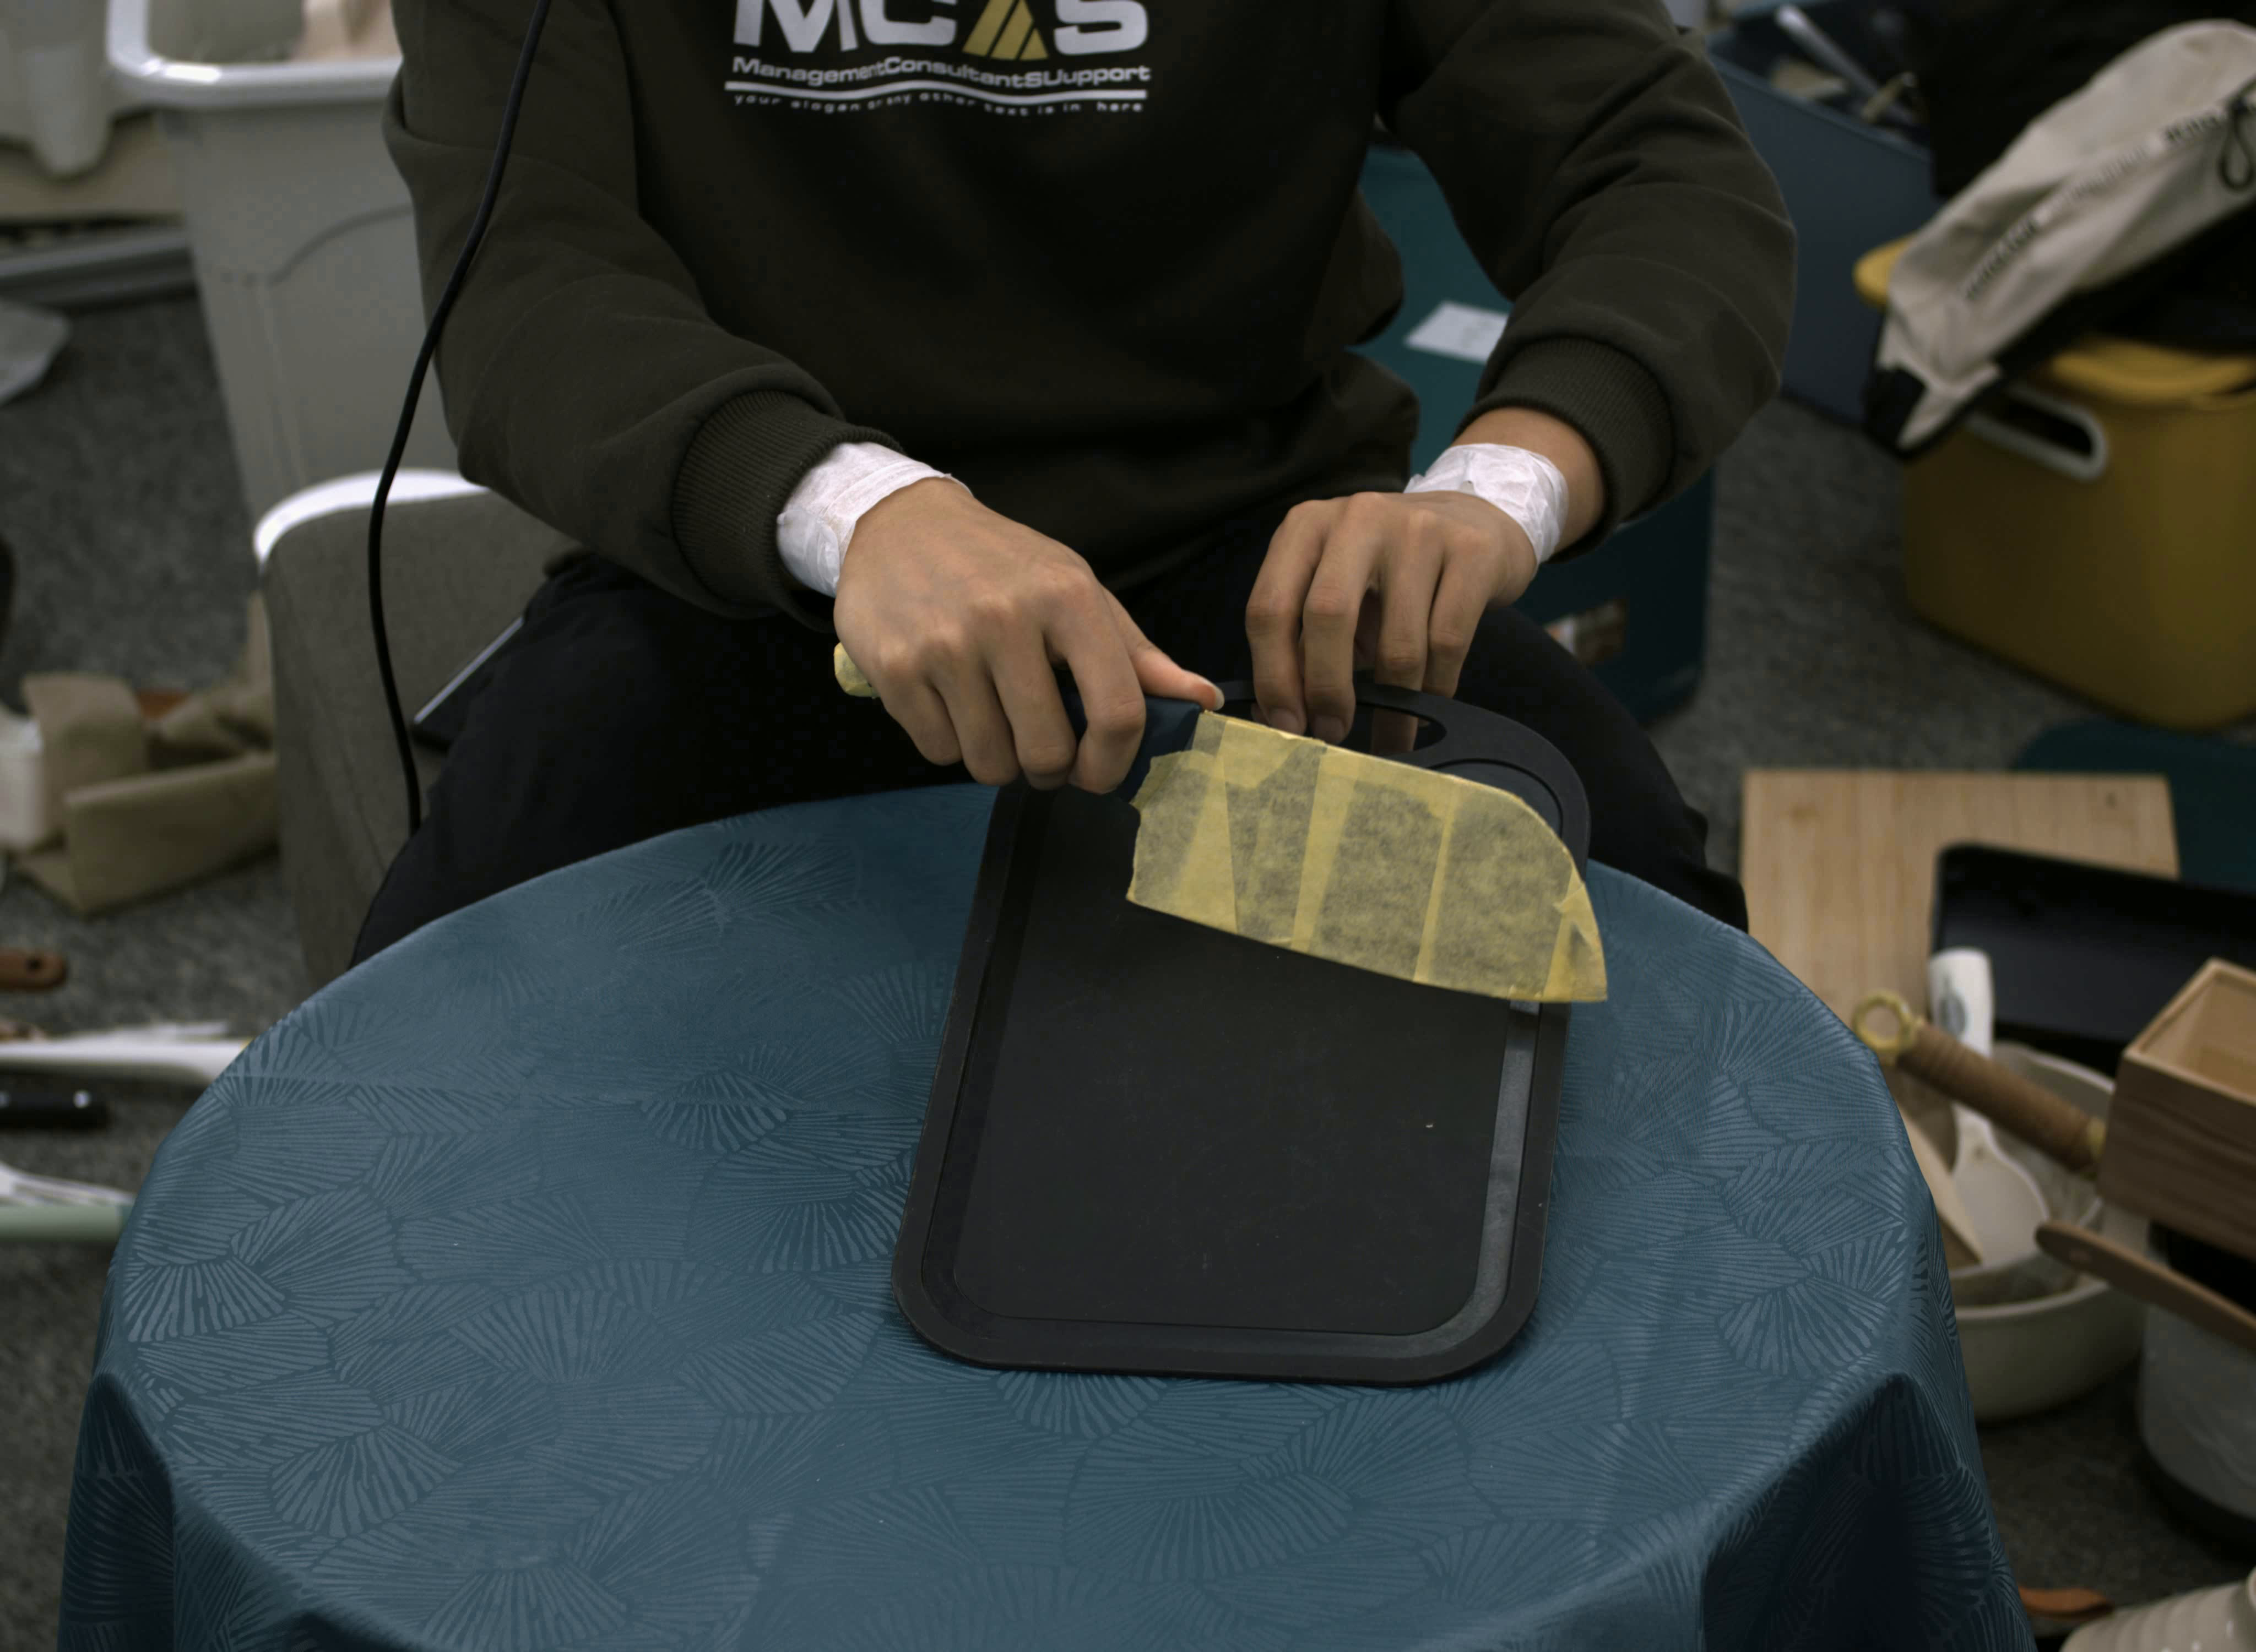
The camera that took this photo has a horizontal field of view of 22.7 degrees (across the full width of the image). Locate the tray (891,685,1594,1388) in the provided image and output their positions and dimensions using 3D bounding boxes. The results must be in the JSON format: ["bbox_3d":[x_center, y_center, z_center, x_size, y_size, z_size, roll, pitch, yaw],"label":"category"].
[{"bbox_3d":[0.043,0.060,1.877,0.210,0.009,0.332,2,43,9],"label":"tray"}]

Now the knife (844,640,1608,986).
[{"bbox_3d":[0.030,-0.006,1.905,0.288,0.081,0.027,18,12,20],"label":"knife"}]
